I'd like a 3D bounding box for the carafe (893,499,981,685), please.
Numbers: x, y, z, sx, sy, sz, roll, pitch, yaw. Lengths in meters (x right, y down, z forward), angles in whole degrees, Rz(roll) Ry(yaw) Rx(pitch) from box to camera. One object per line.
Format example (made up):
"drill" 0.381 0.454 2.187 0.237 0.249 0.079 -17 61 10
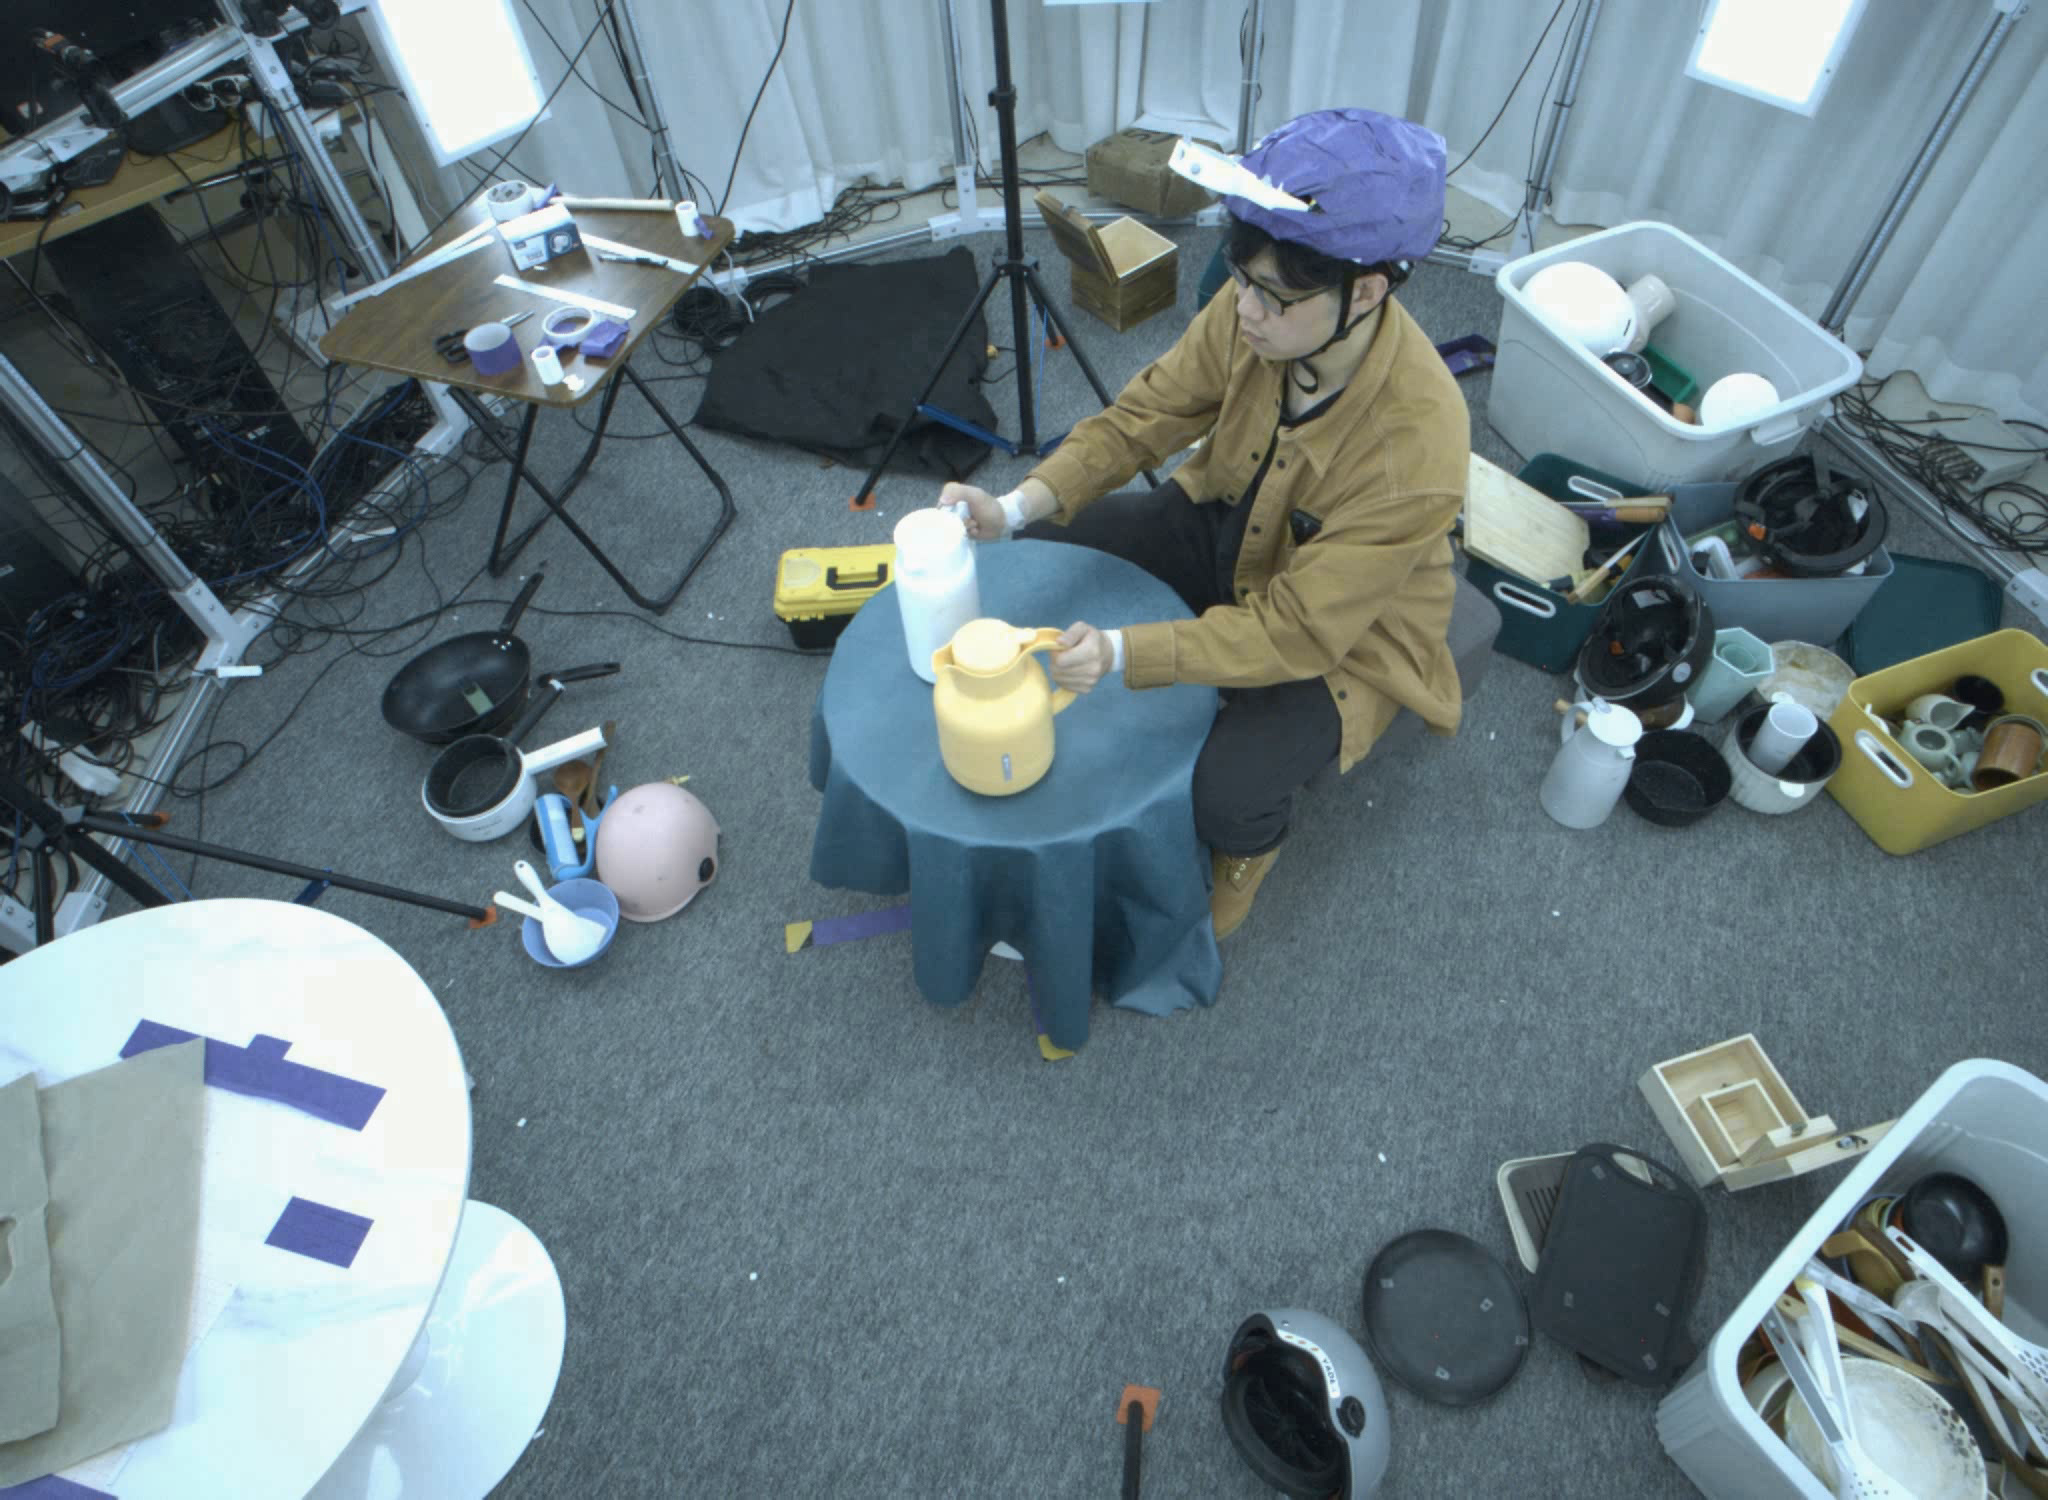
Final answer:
"carafe" -0.120 -0.233 1.787 0.122 0.272 0.173 15 55 17

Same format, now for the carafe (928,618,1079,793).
"carafe" -0.024 -0.069 1.670 0.203 0.263 0.161 -12 57 -4
